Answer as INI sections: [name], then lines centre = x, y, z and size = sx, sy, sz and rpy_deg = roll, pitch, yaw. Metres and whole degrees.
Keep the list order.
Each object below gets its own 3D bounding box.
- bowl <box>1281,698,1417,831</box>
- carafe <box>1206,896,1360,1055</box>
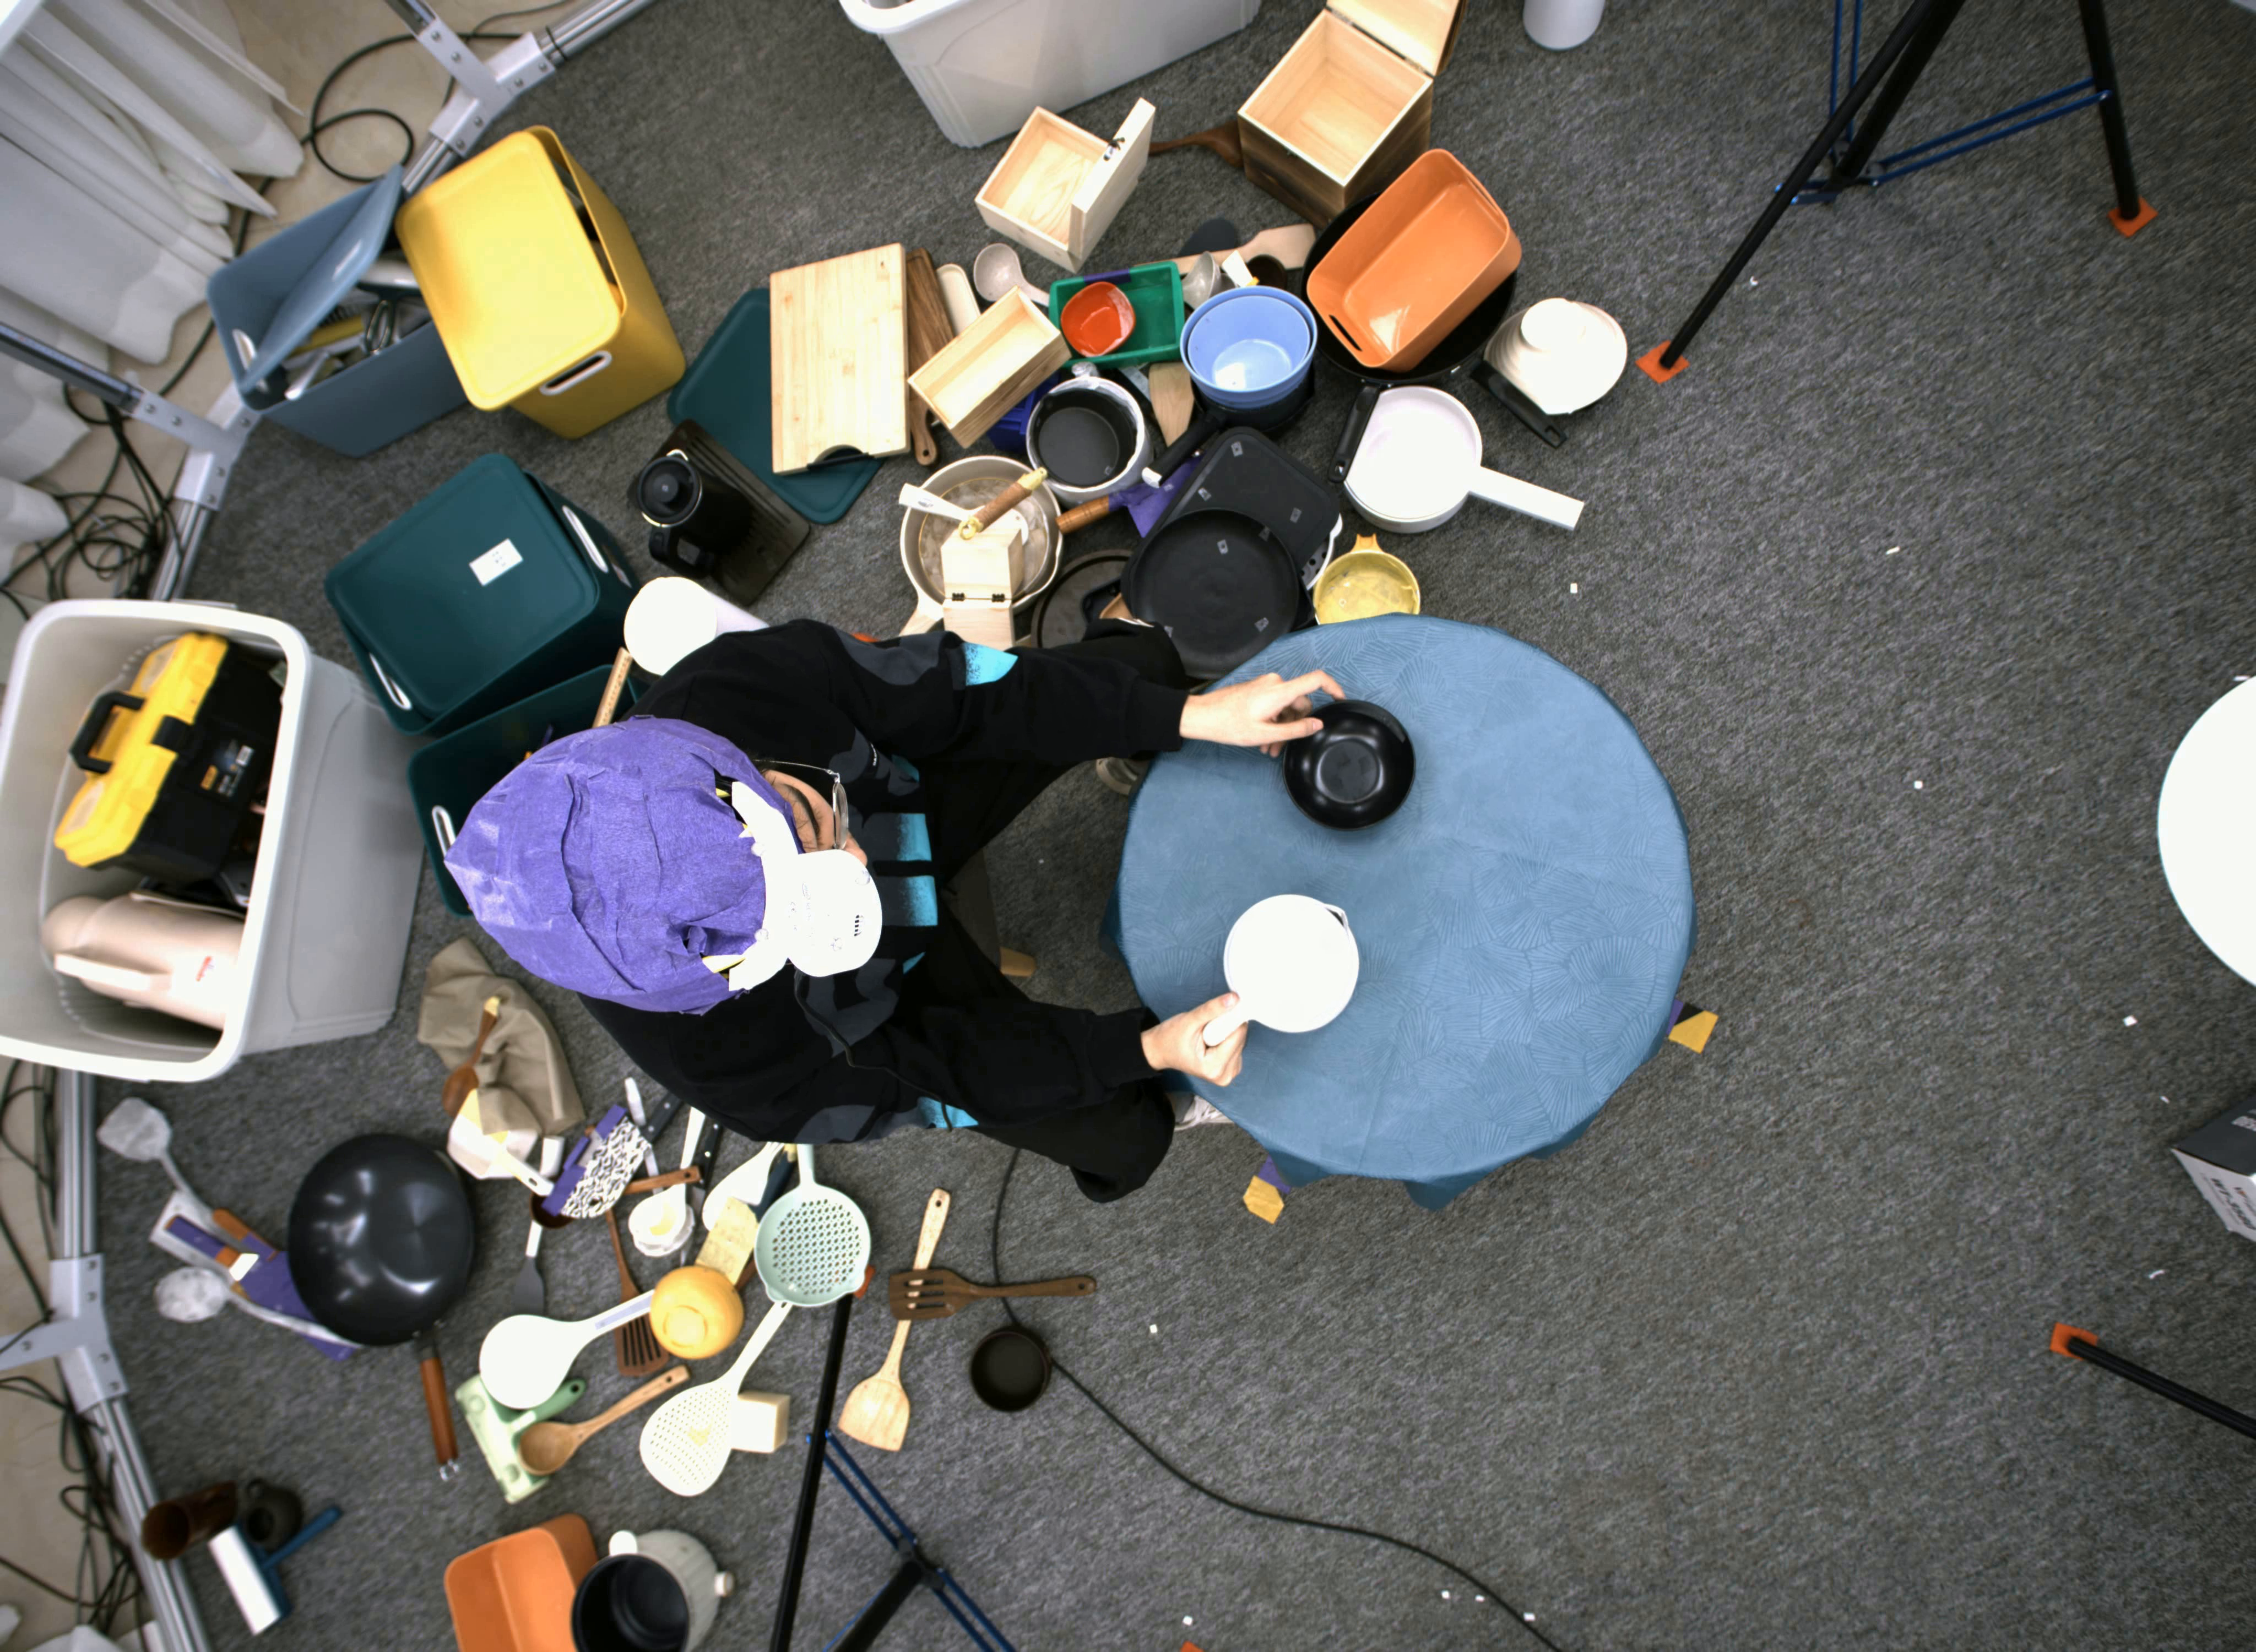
[bowl]
centre = 0.232, -0.063, 1.445
size = 0.140, 0.050, 0.139
rpy_deg = -1, 88, 12
[carafe]
centre = 0.147, 0.156, 1.383
size = 0.192, 0.183, 0.131
rpy_deg = -45, 78, 4
